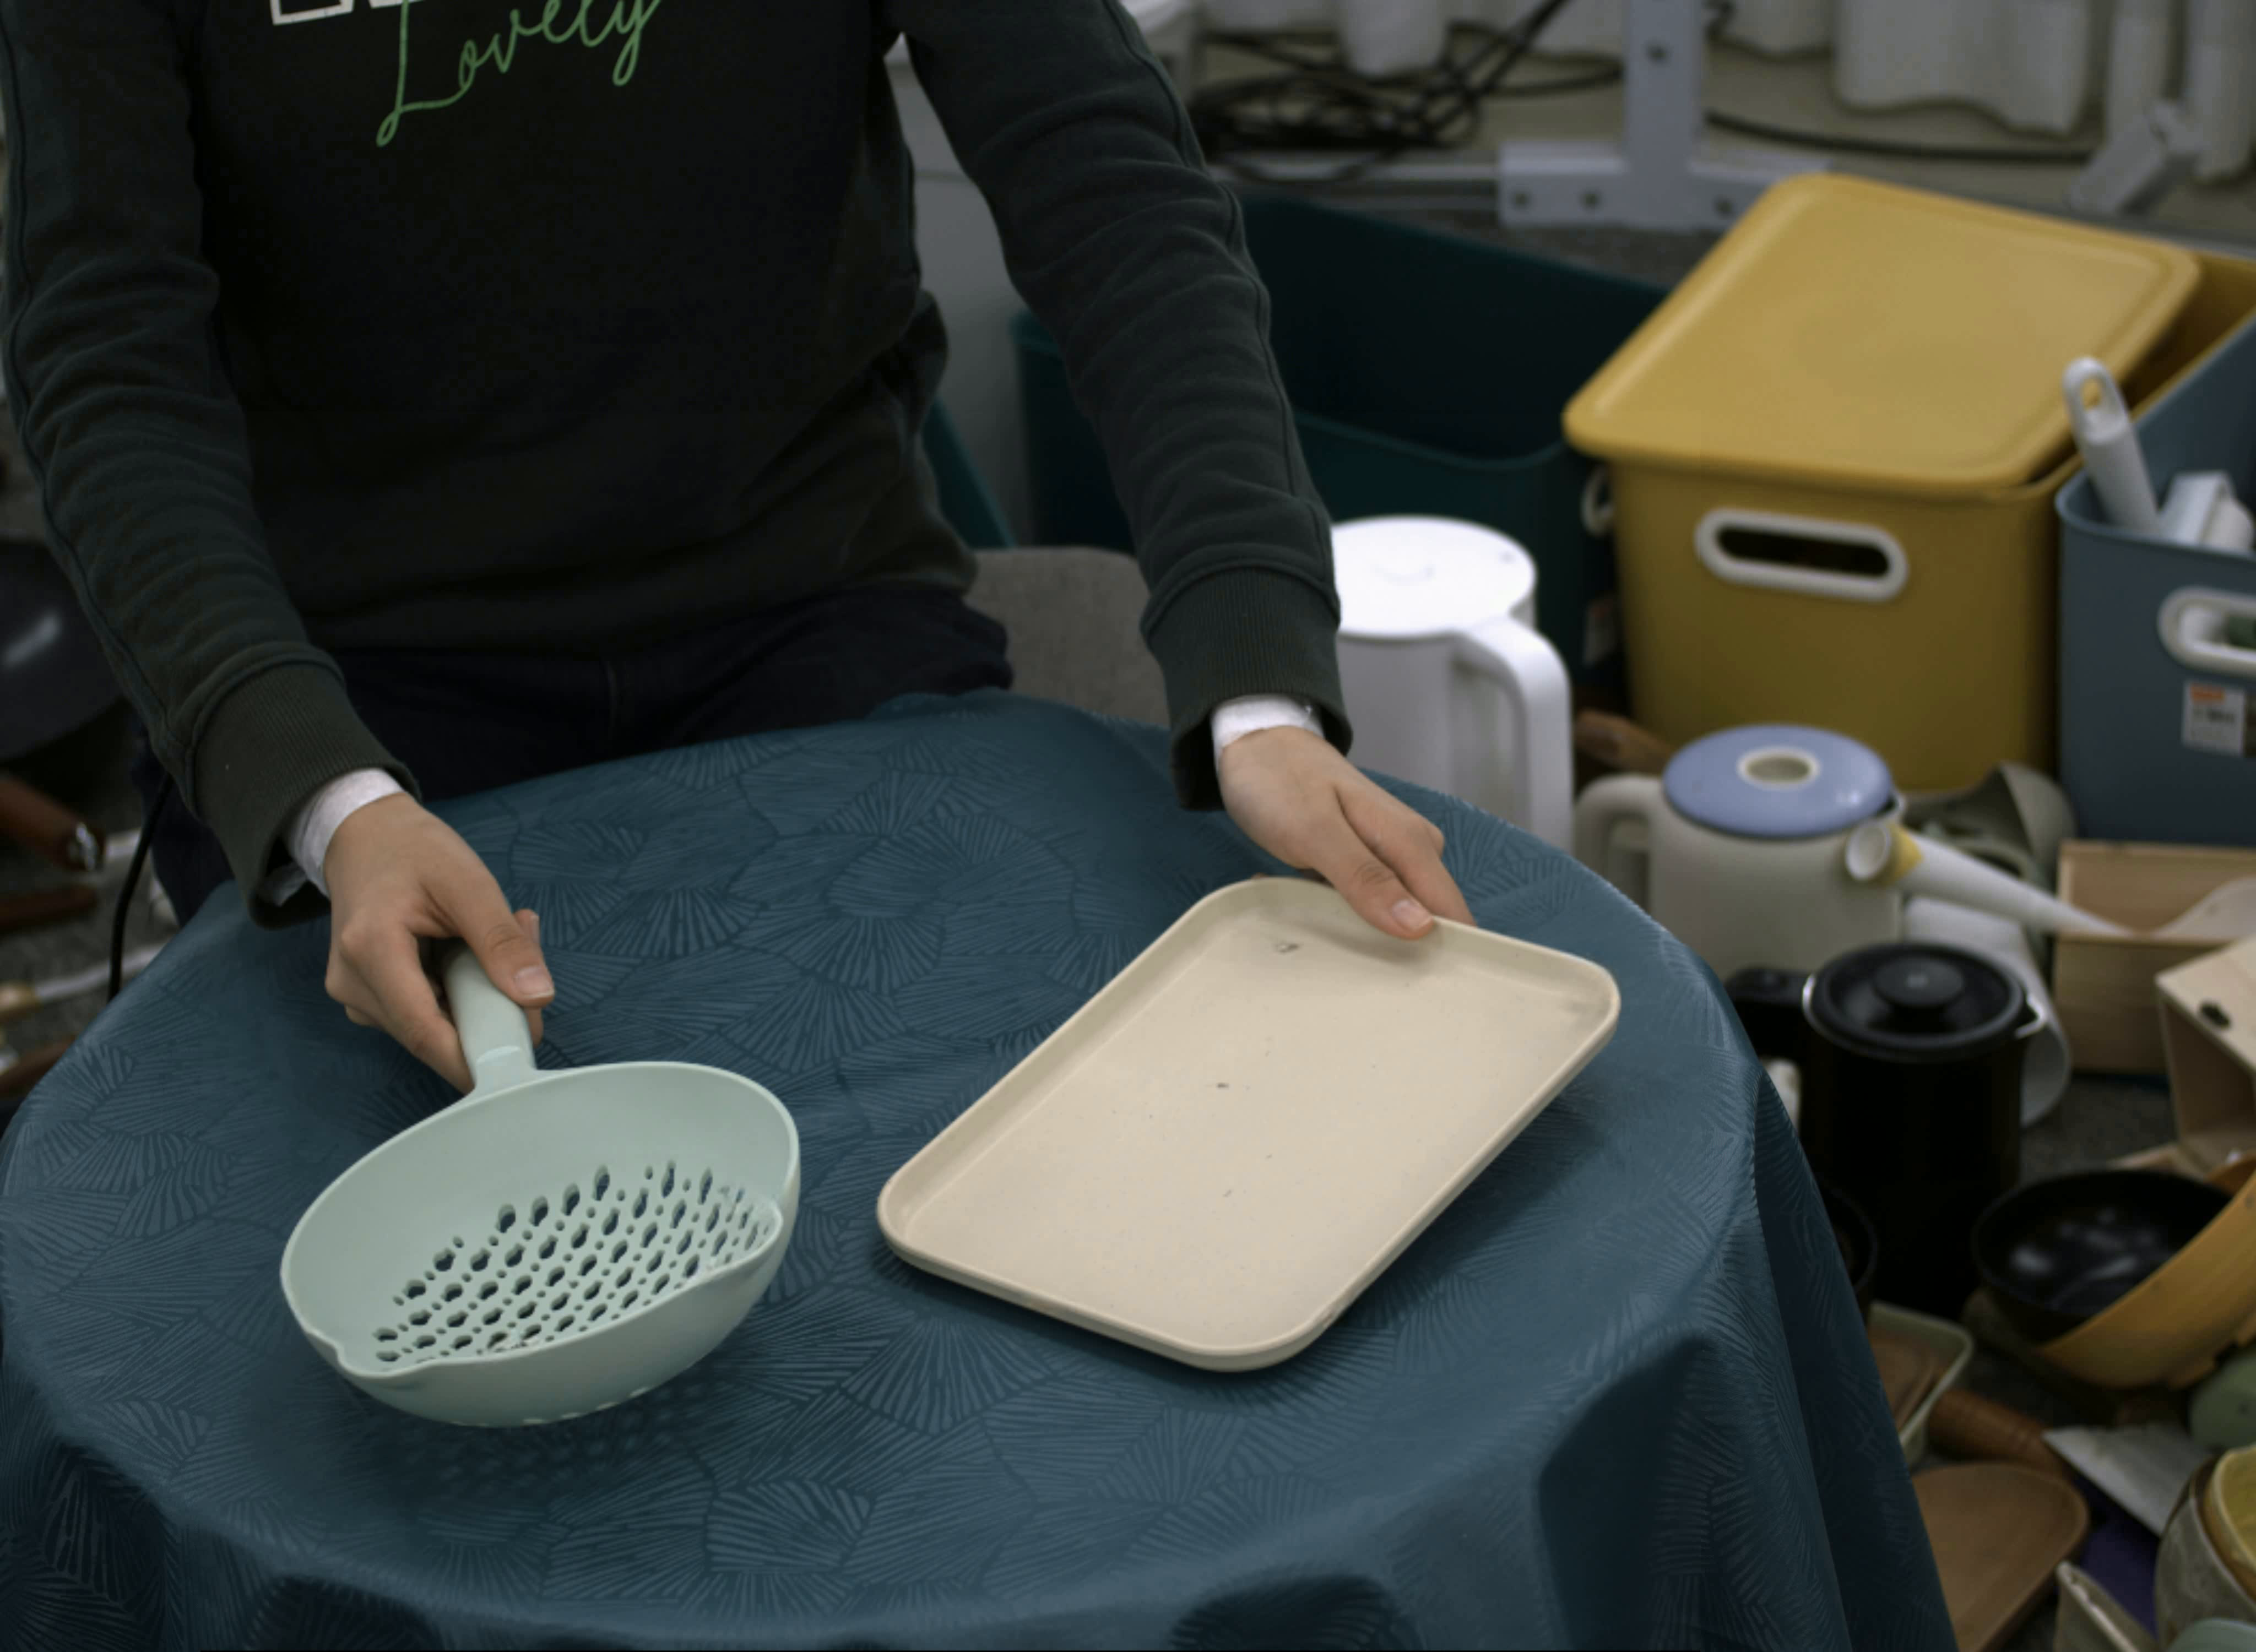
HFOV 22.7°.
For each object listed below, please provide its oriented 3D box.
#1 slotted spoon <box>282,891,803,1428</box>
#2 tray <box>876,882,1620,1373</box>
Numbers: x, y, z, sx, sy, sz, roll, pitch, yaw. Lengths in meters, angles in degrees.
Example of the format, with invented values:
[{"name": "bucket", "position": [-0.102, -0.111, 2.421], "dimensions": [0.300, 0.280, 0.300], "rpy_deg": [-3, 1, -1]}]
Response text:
[{"name": "slotted spoon", "position": [-0.201, 0.092, 1.850], "dimensions": [0.169, 0.074, 0.363], "rpy_deg": [-16, 33, -6]}, {"name": "tray", "position": [0.042, 0.098, 1.861], "dimensions": [0.170, 0.017, 0.243], "rpy_deg": [15, 38, 32]}]
